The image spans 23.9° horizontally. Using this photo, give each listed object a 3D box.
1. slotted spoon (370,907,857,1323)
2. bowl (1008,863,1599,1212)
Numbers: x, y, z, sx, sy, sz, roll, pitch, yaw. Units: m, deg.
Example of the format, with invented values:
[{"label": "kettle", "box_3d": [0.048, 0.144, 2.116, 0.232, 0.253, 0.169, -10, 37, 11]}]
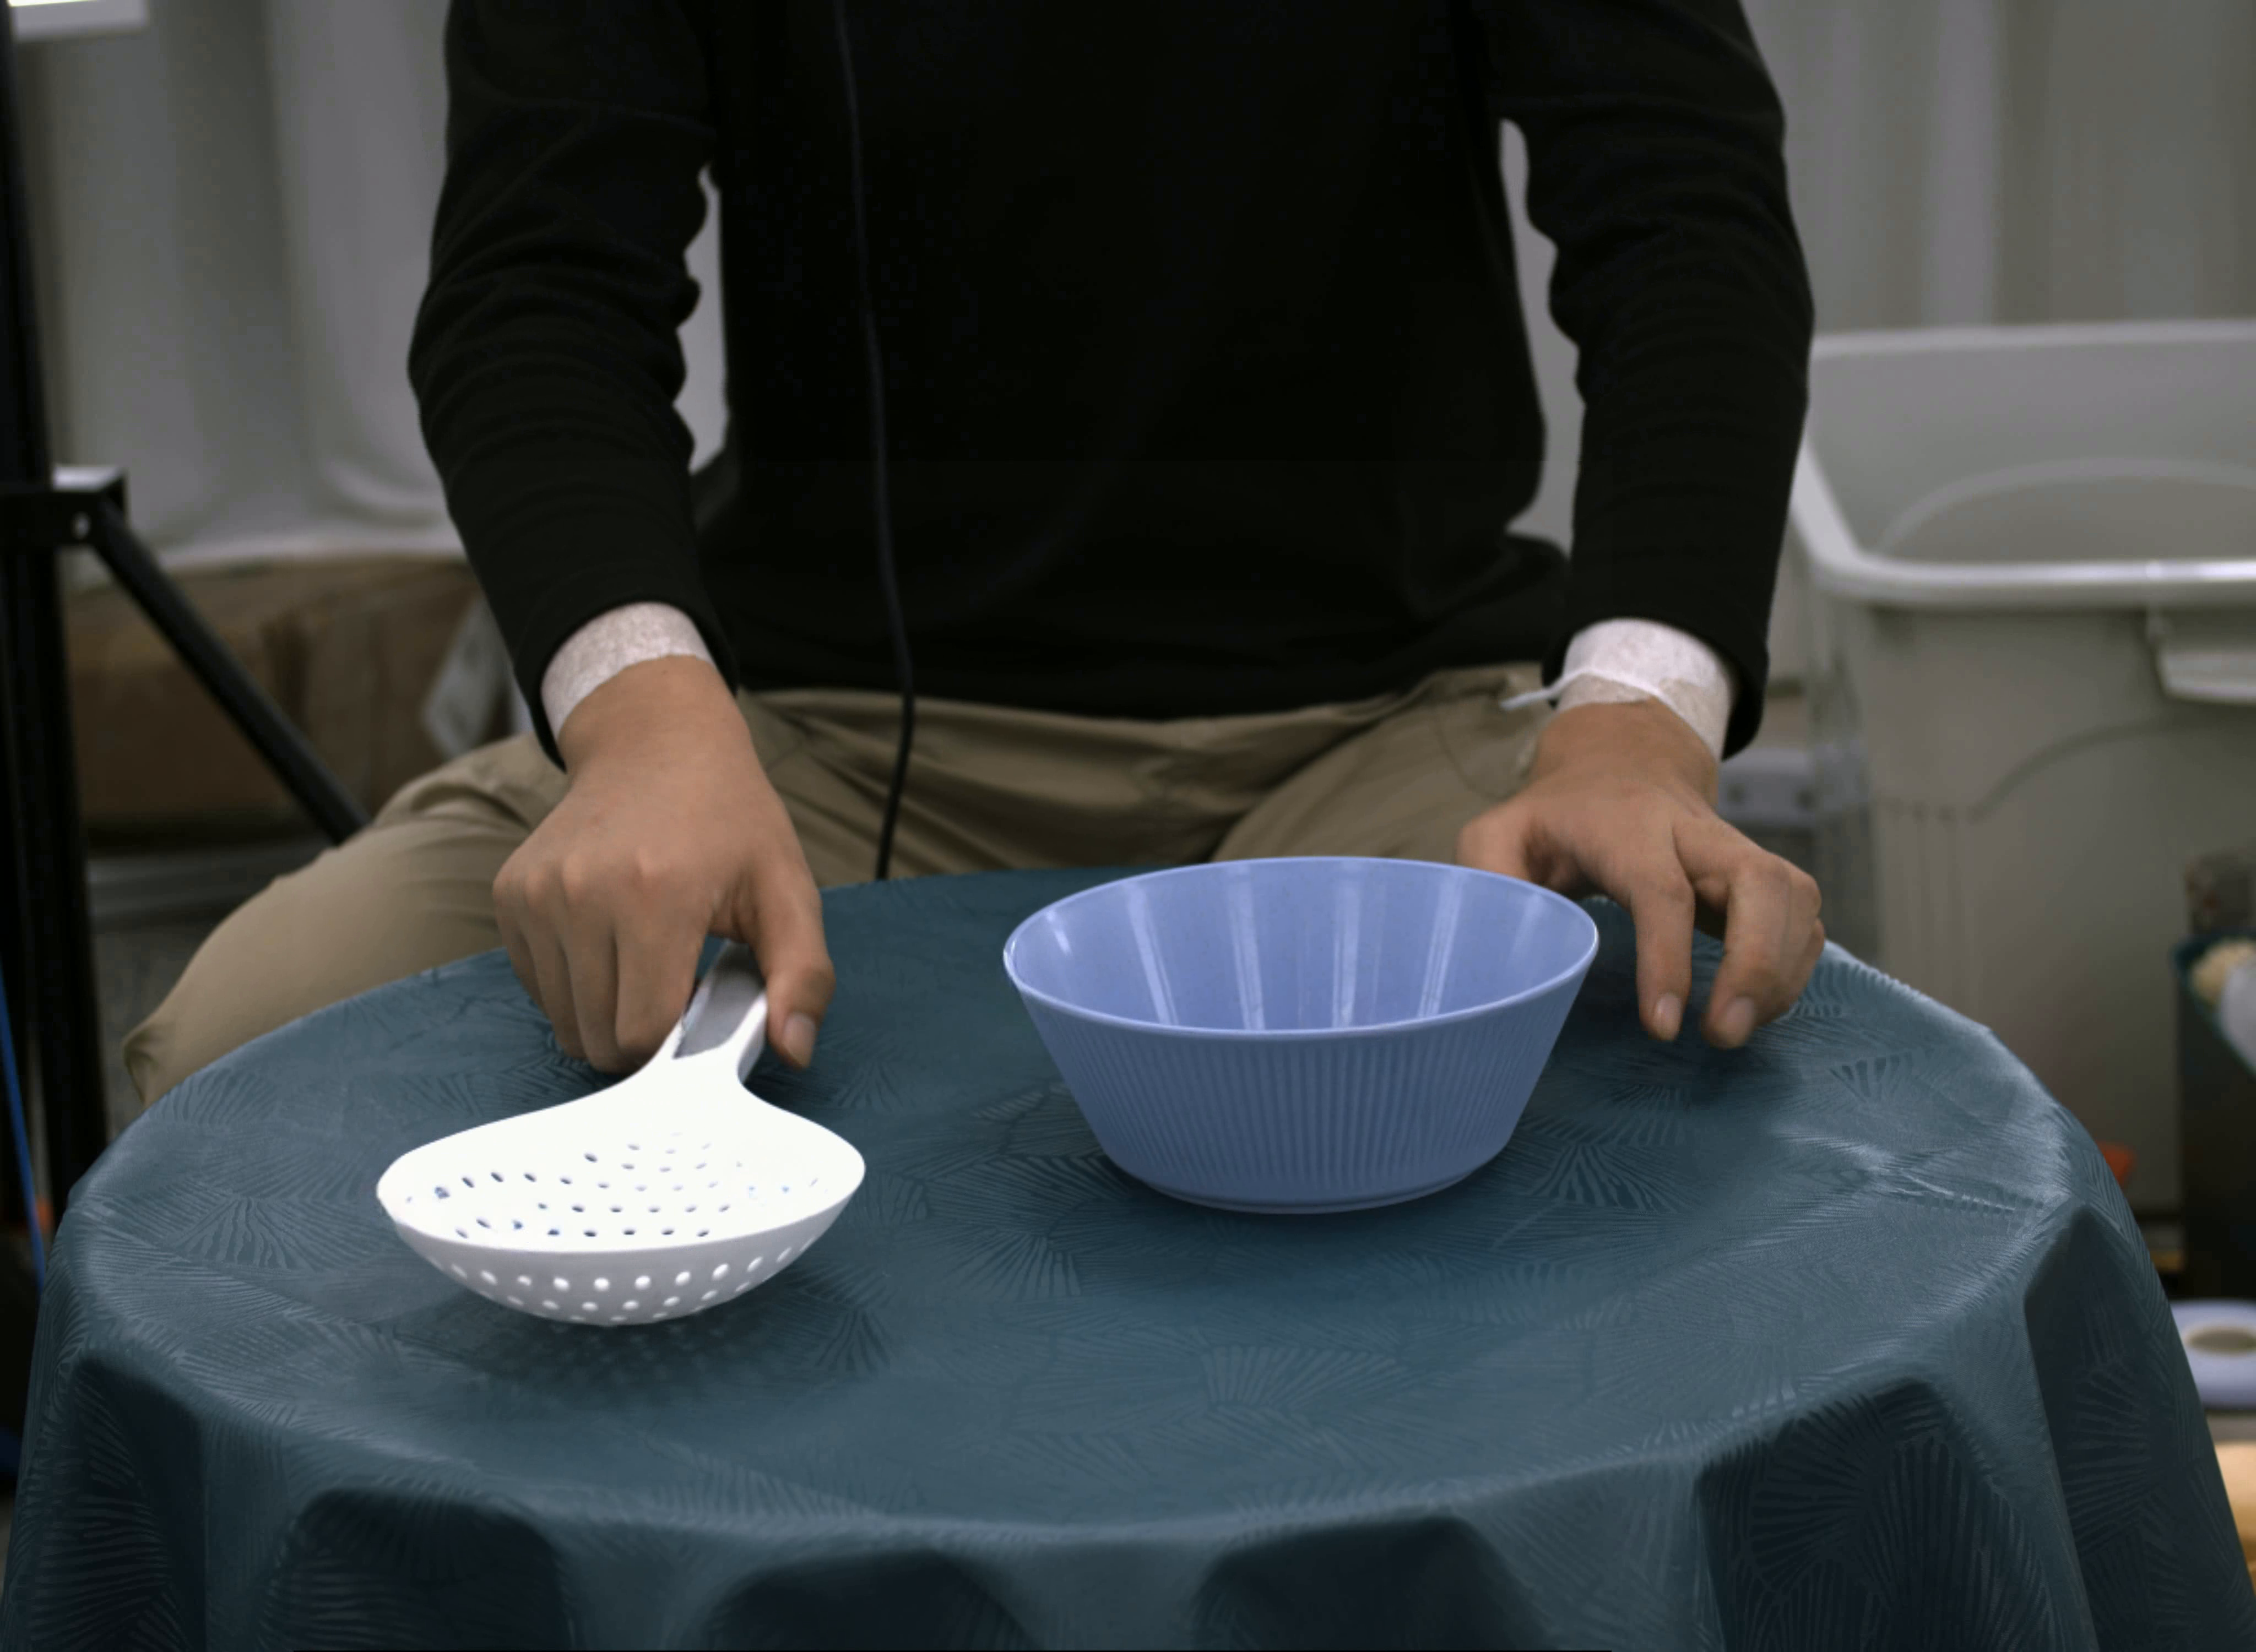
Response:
[{"label": "slotted spoon", "box_3d": [-0.132, 0.077, 1.579, 0.136, 0.045, 0.350, -2, 19, 6]}, {"label": "bowl", "box_3d": [0.052, 0.065, 1.574, 0.175, 0.070, 0.177, -3, 14, -1]}]
